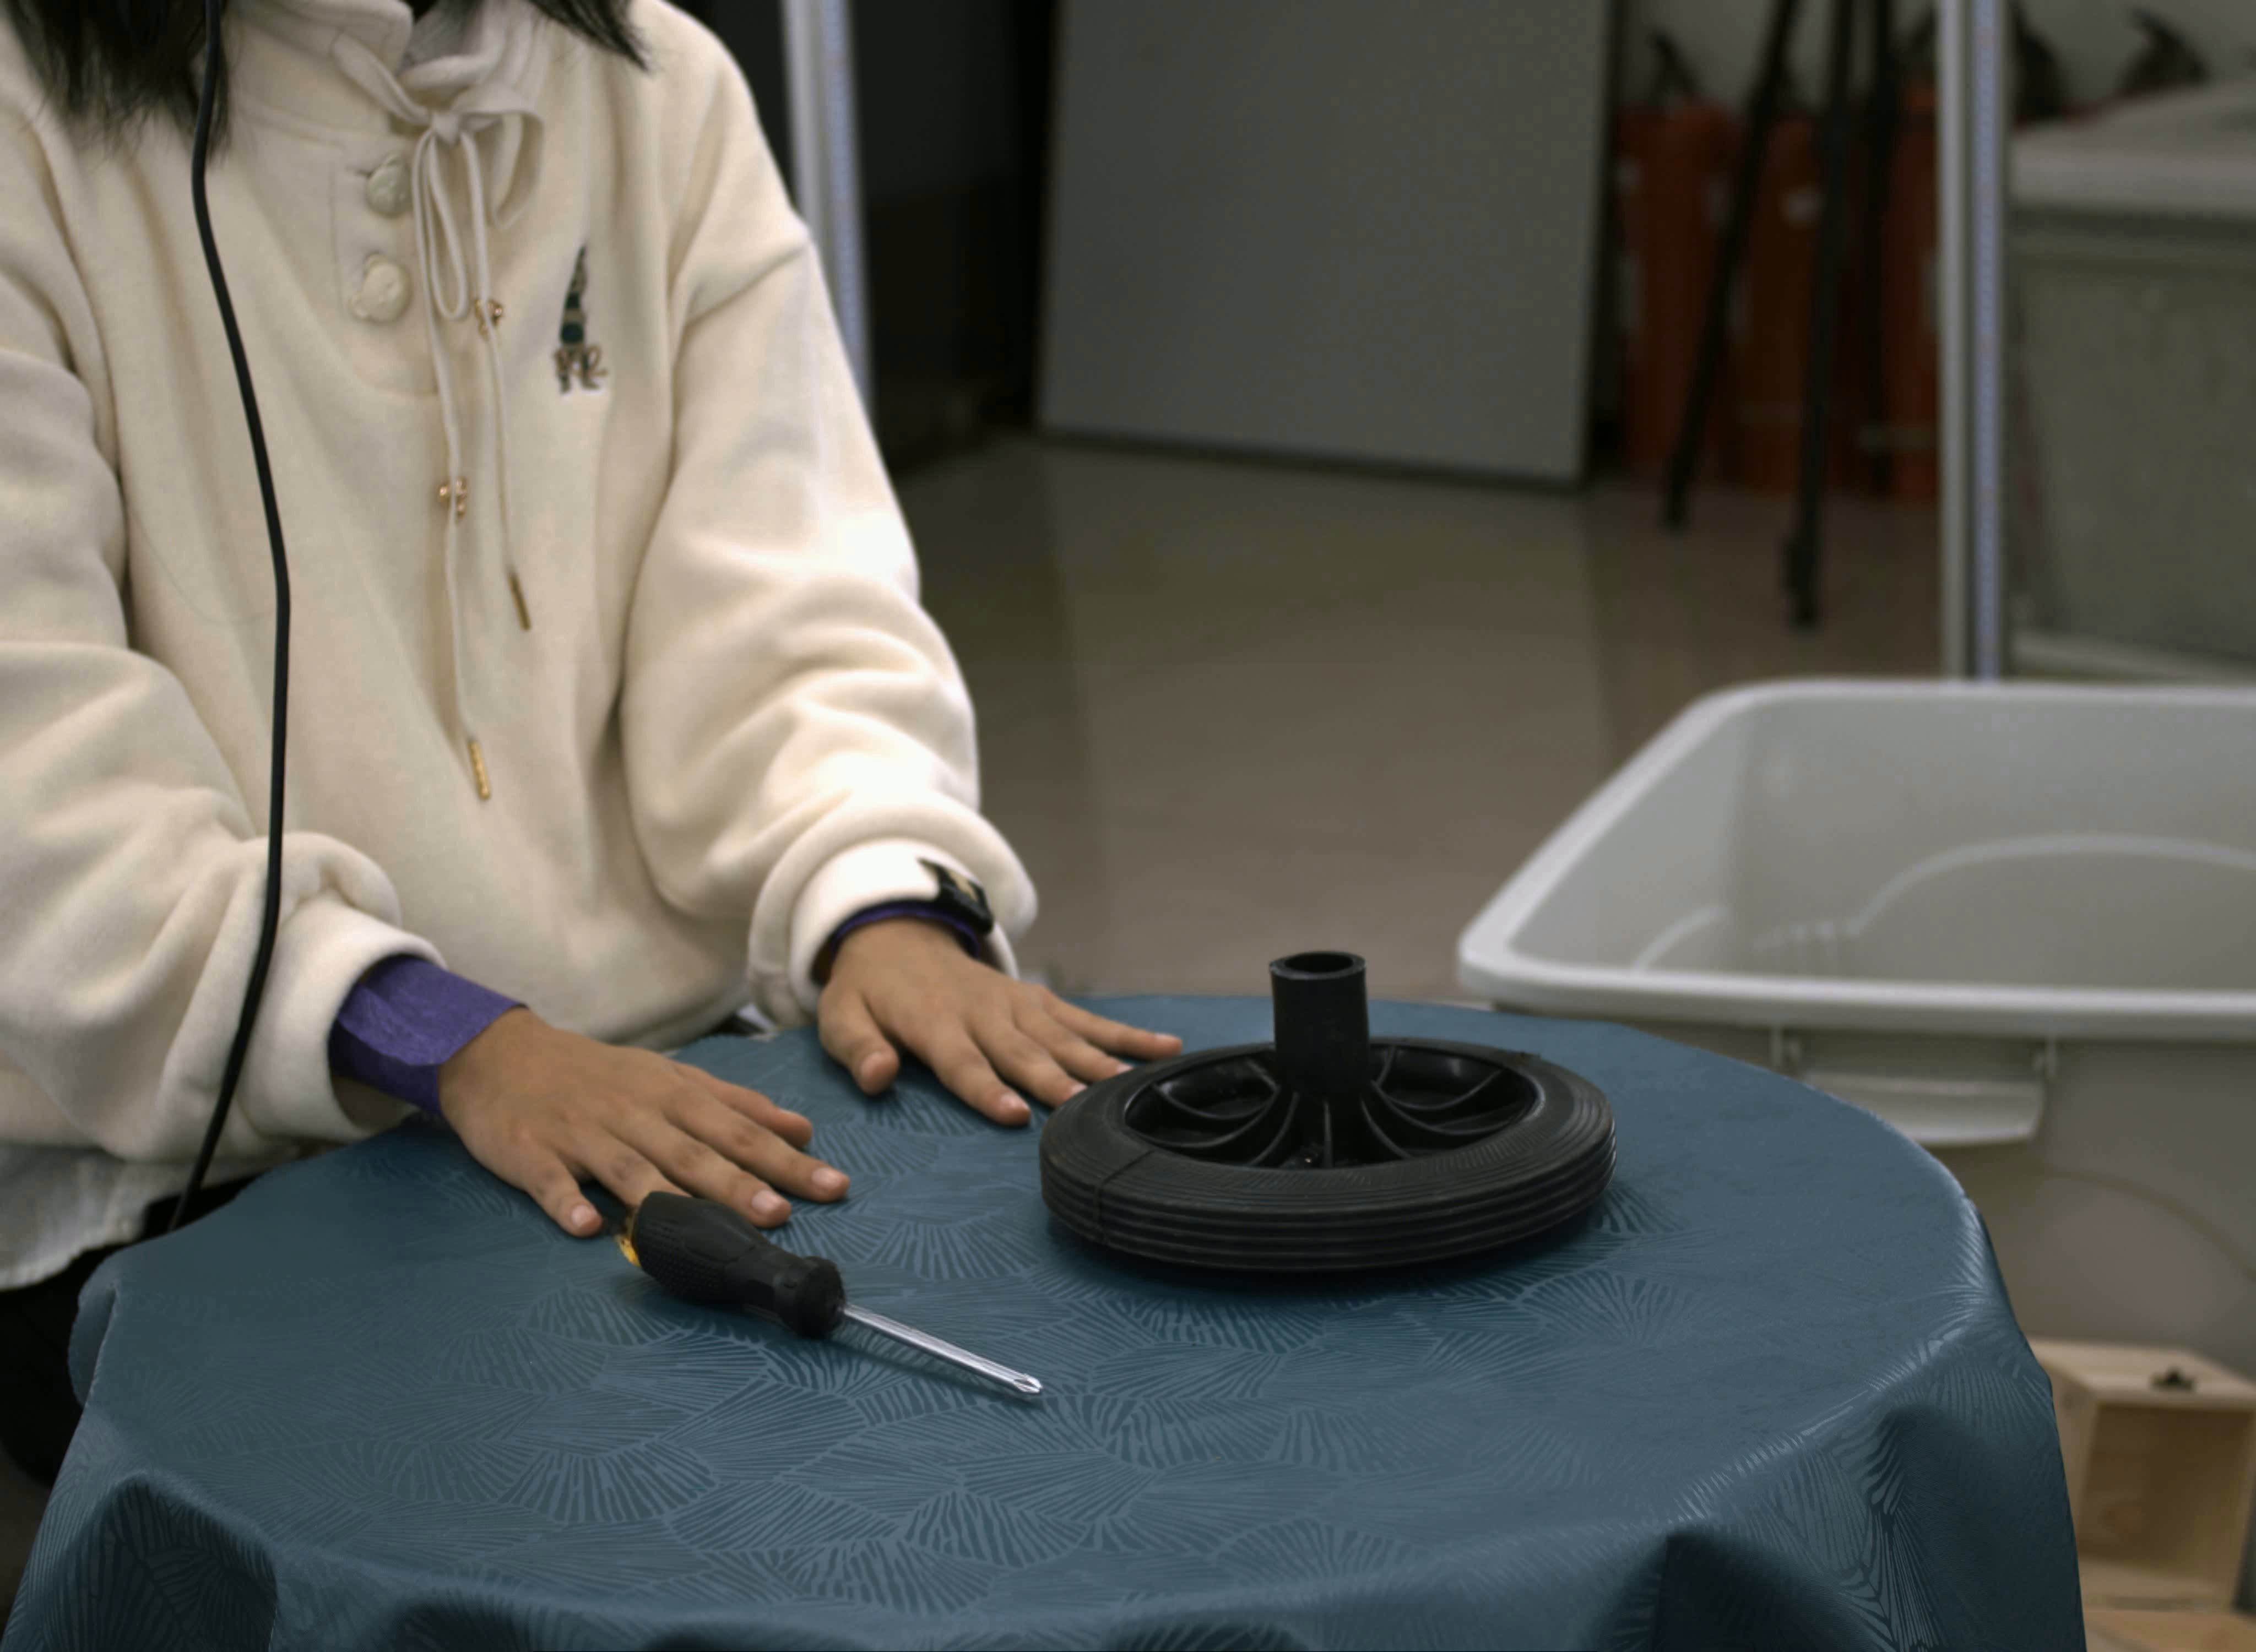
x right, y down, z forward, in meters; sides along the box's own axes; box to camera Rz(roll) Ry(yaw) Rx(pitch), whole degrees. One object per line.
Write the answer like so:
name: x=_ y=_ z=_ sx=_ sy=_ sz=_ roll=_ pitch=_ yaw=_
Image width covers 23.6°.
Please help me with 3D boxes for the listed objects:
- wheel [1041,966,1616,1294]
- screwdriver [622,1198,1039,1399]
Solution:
wheel: x=0.063 y=0.088 z=1.730 sx=0.185 sy=0.080 sz=0.190 roll=-4 pitch=16 yaw=0
screwdriver: x=-0.088 y=0.145 z=1.649 sx=0.031 sy=0.032 sz=0.198 roll=-15 pitch=20 yaw=-41
